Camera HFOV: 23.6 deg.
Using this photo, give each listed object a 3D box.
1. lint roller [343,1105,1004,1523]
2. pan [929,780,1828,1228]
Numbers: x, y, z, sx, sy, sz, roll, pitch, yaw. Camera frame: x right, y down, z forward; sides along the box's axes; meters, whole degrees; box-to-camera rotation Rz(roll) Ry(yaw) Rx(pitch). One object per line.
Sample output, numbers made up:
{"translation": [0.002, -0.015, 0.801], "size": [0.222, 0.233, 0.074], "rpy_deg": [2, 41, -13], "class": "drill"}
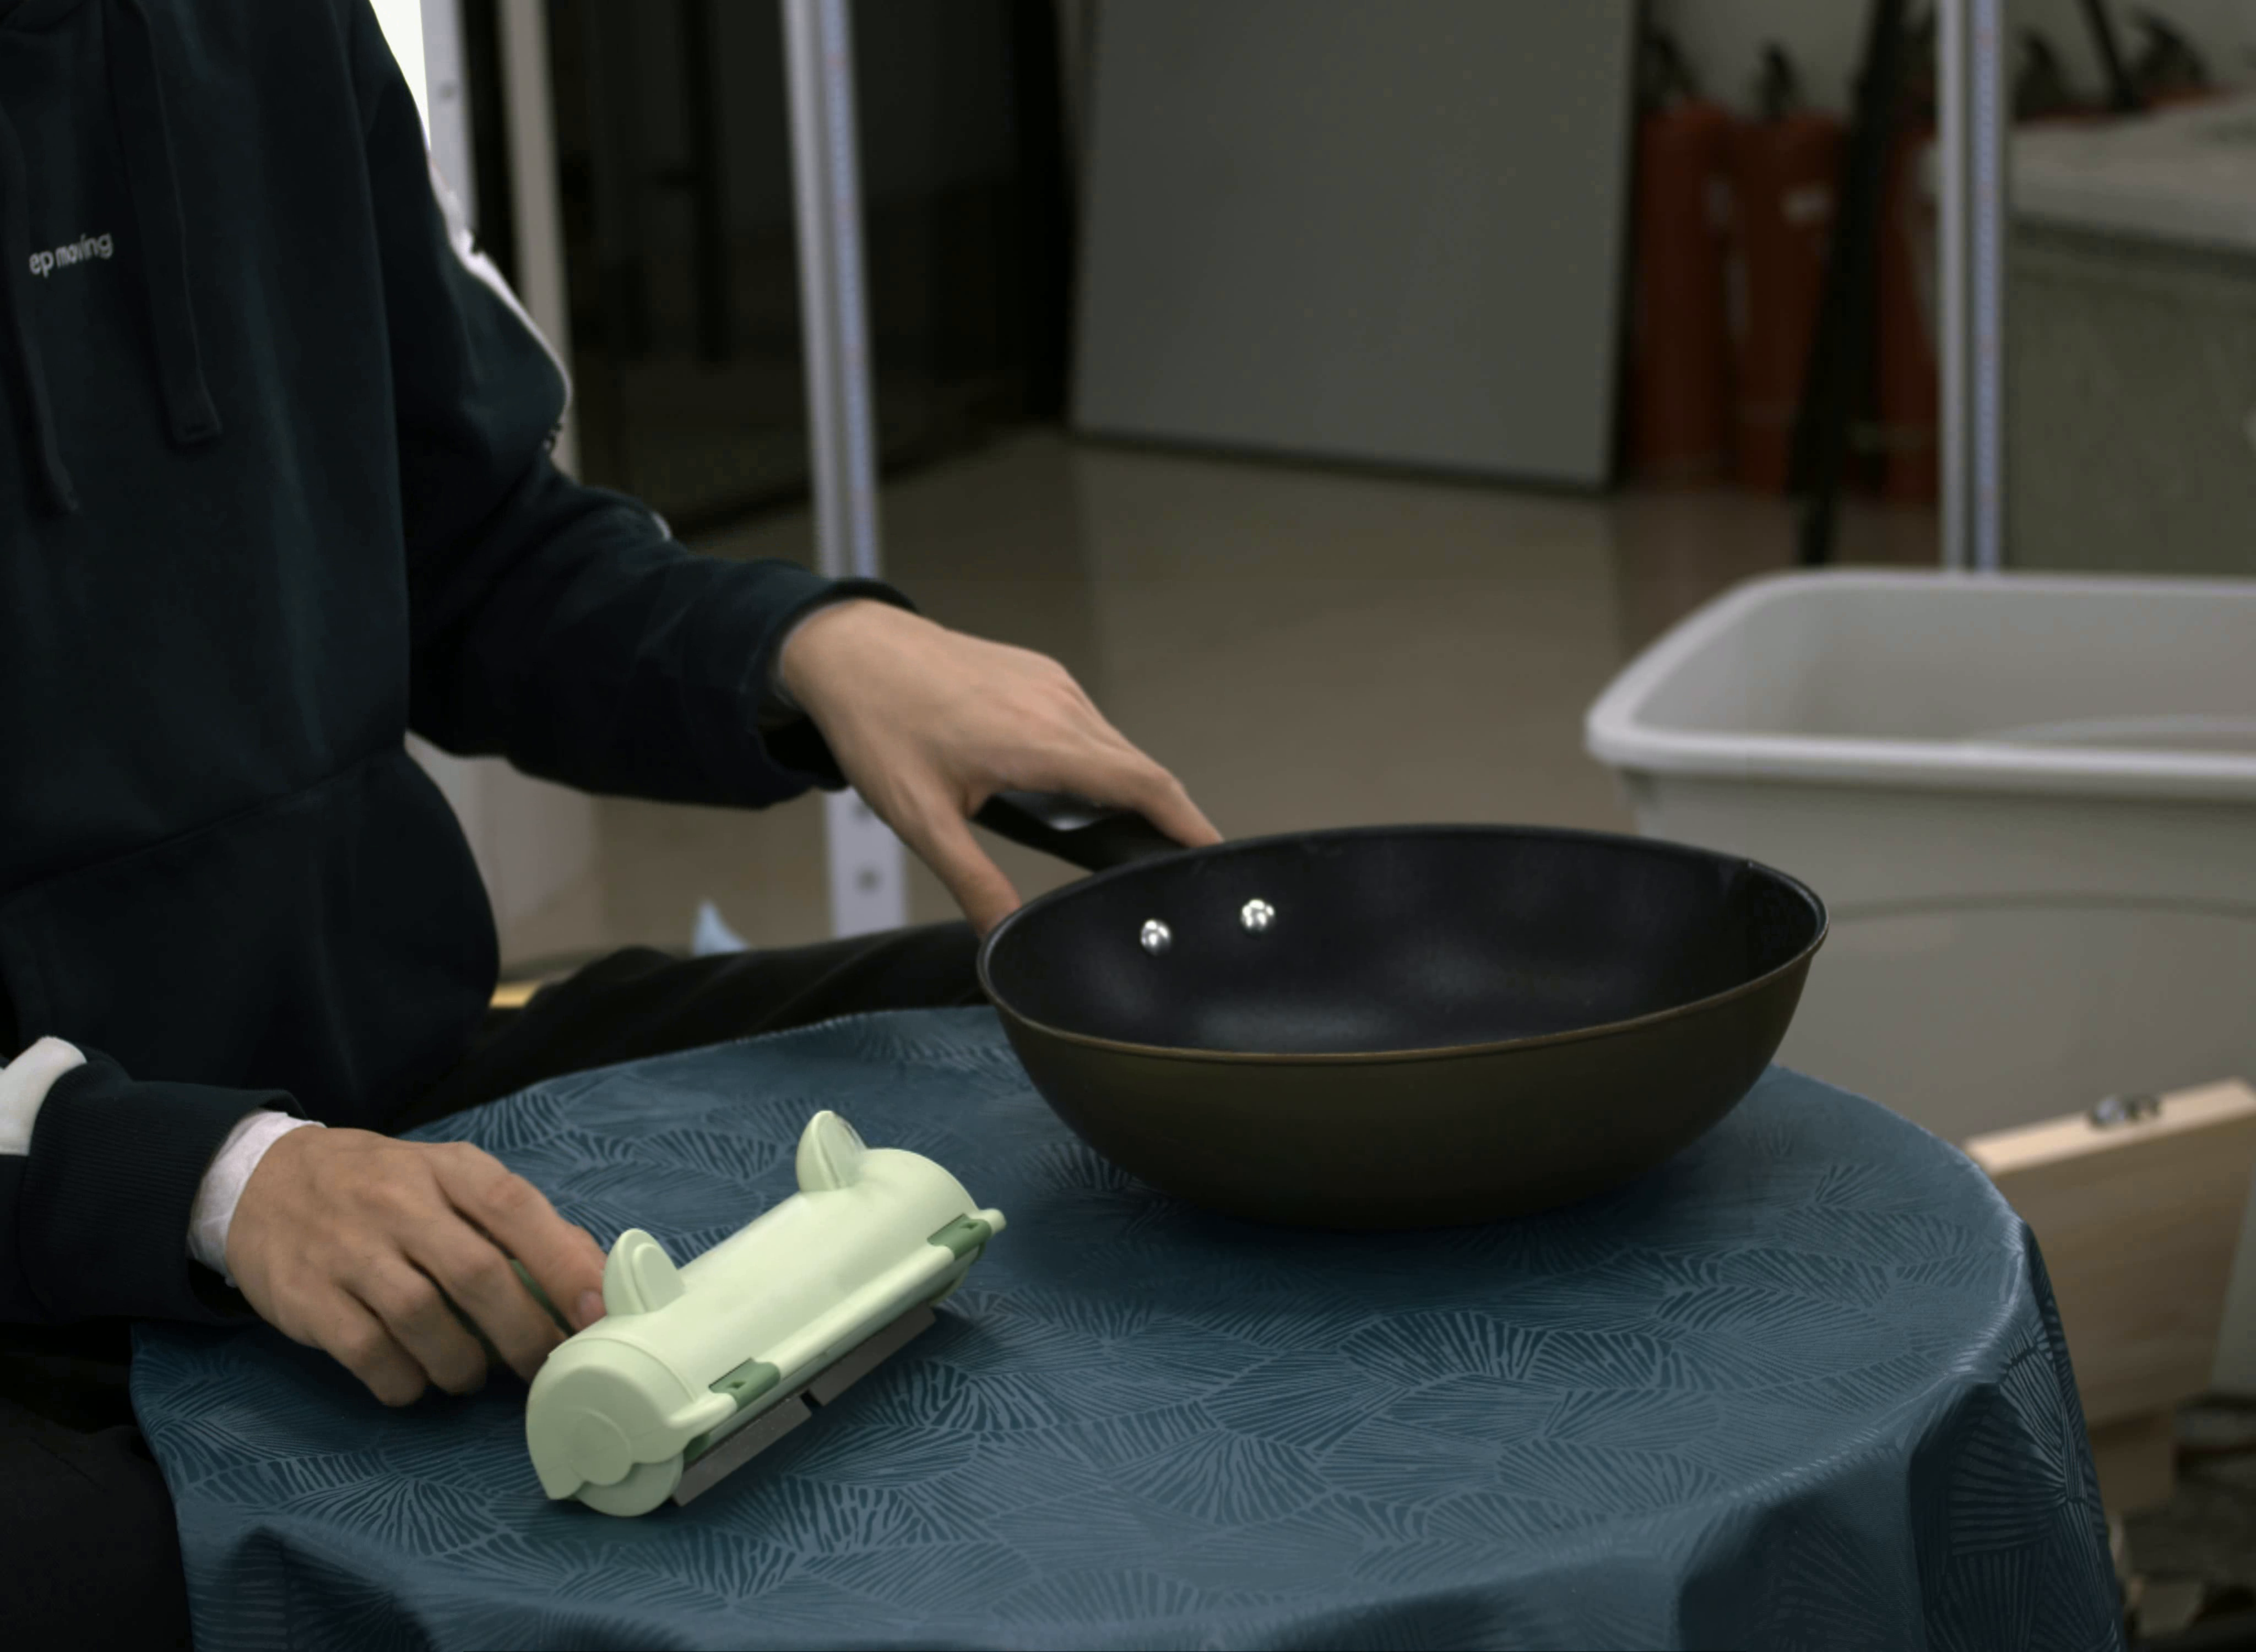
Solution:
{"translation": [-0.157, 0.133, 1.612], "size": [0.183, 0.083, 0.196], "rpy_deg": [8, 18, 25], "class": "lint roller"}
{"translation": [0.045, 0.056, 1.846], "size": [0.282, 0.088, 0.468], "rpy_deg": [-11, 14, -29], "class": "pan"}
